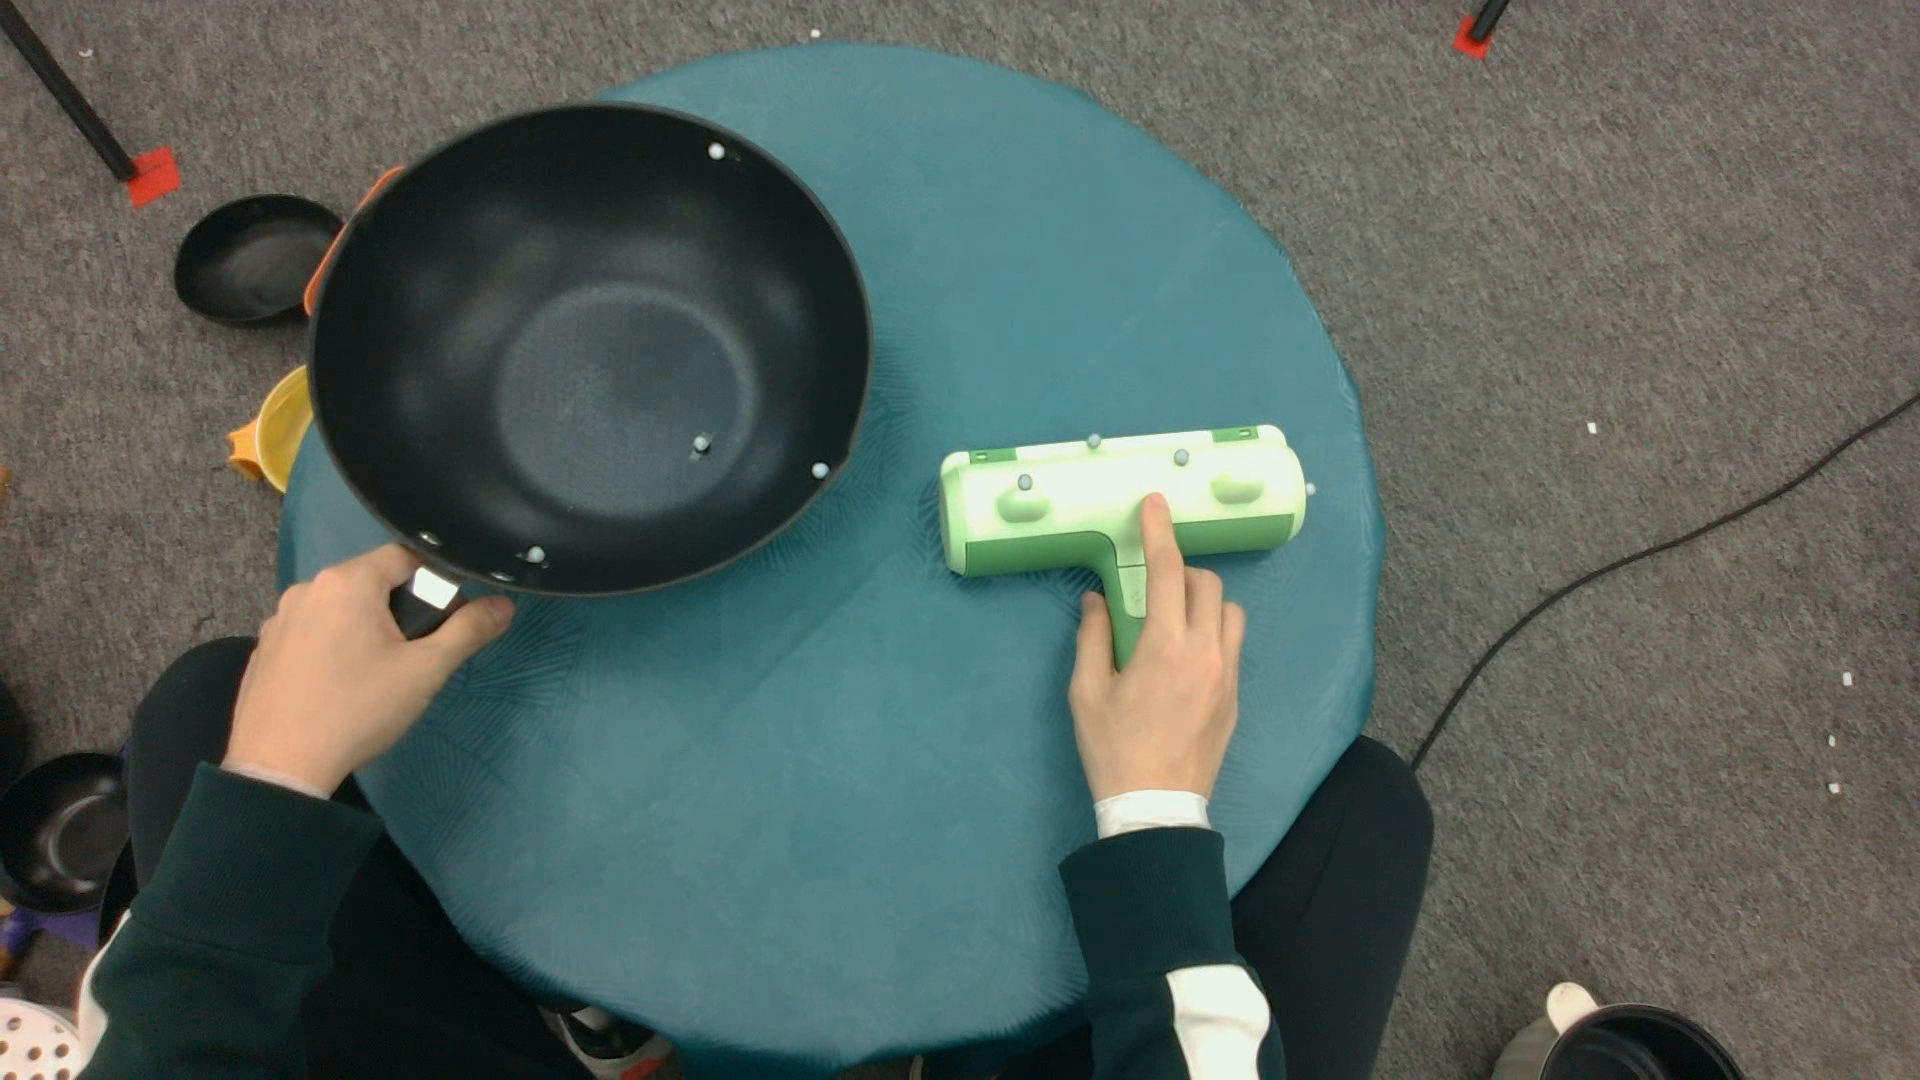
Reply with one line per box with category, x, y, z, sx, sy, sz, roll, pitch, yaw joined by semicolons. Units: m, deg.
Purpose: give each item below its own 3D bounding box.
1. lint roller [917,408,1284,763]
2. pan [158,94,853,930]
lint roller;0.085;0.020;0.722;0.199;0.082;0.184;-6;66;-7
pan;-0.236;-0.017;0.704;0.288;0.086;0.465;25;72;4
